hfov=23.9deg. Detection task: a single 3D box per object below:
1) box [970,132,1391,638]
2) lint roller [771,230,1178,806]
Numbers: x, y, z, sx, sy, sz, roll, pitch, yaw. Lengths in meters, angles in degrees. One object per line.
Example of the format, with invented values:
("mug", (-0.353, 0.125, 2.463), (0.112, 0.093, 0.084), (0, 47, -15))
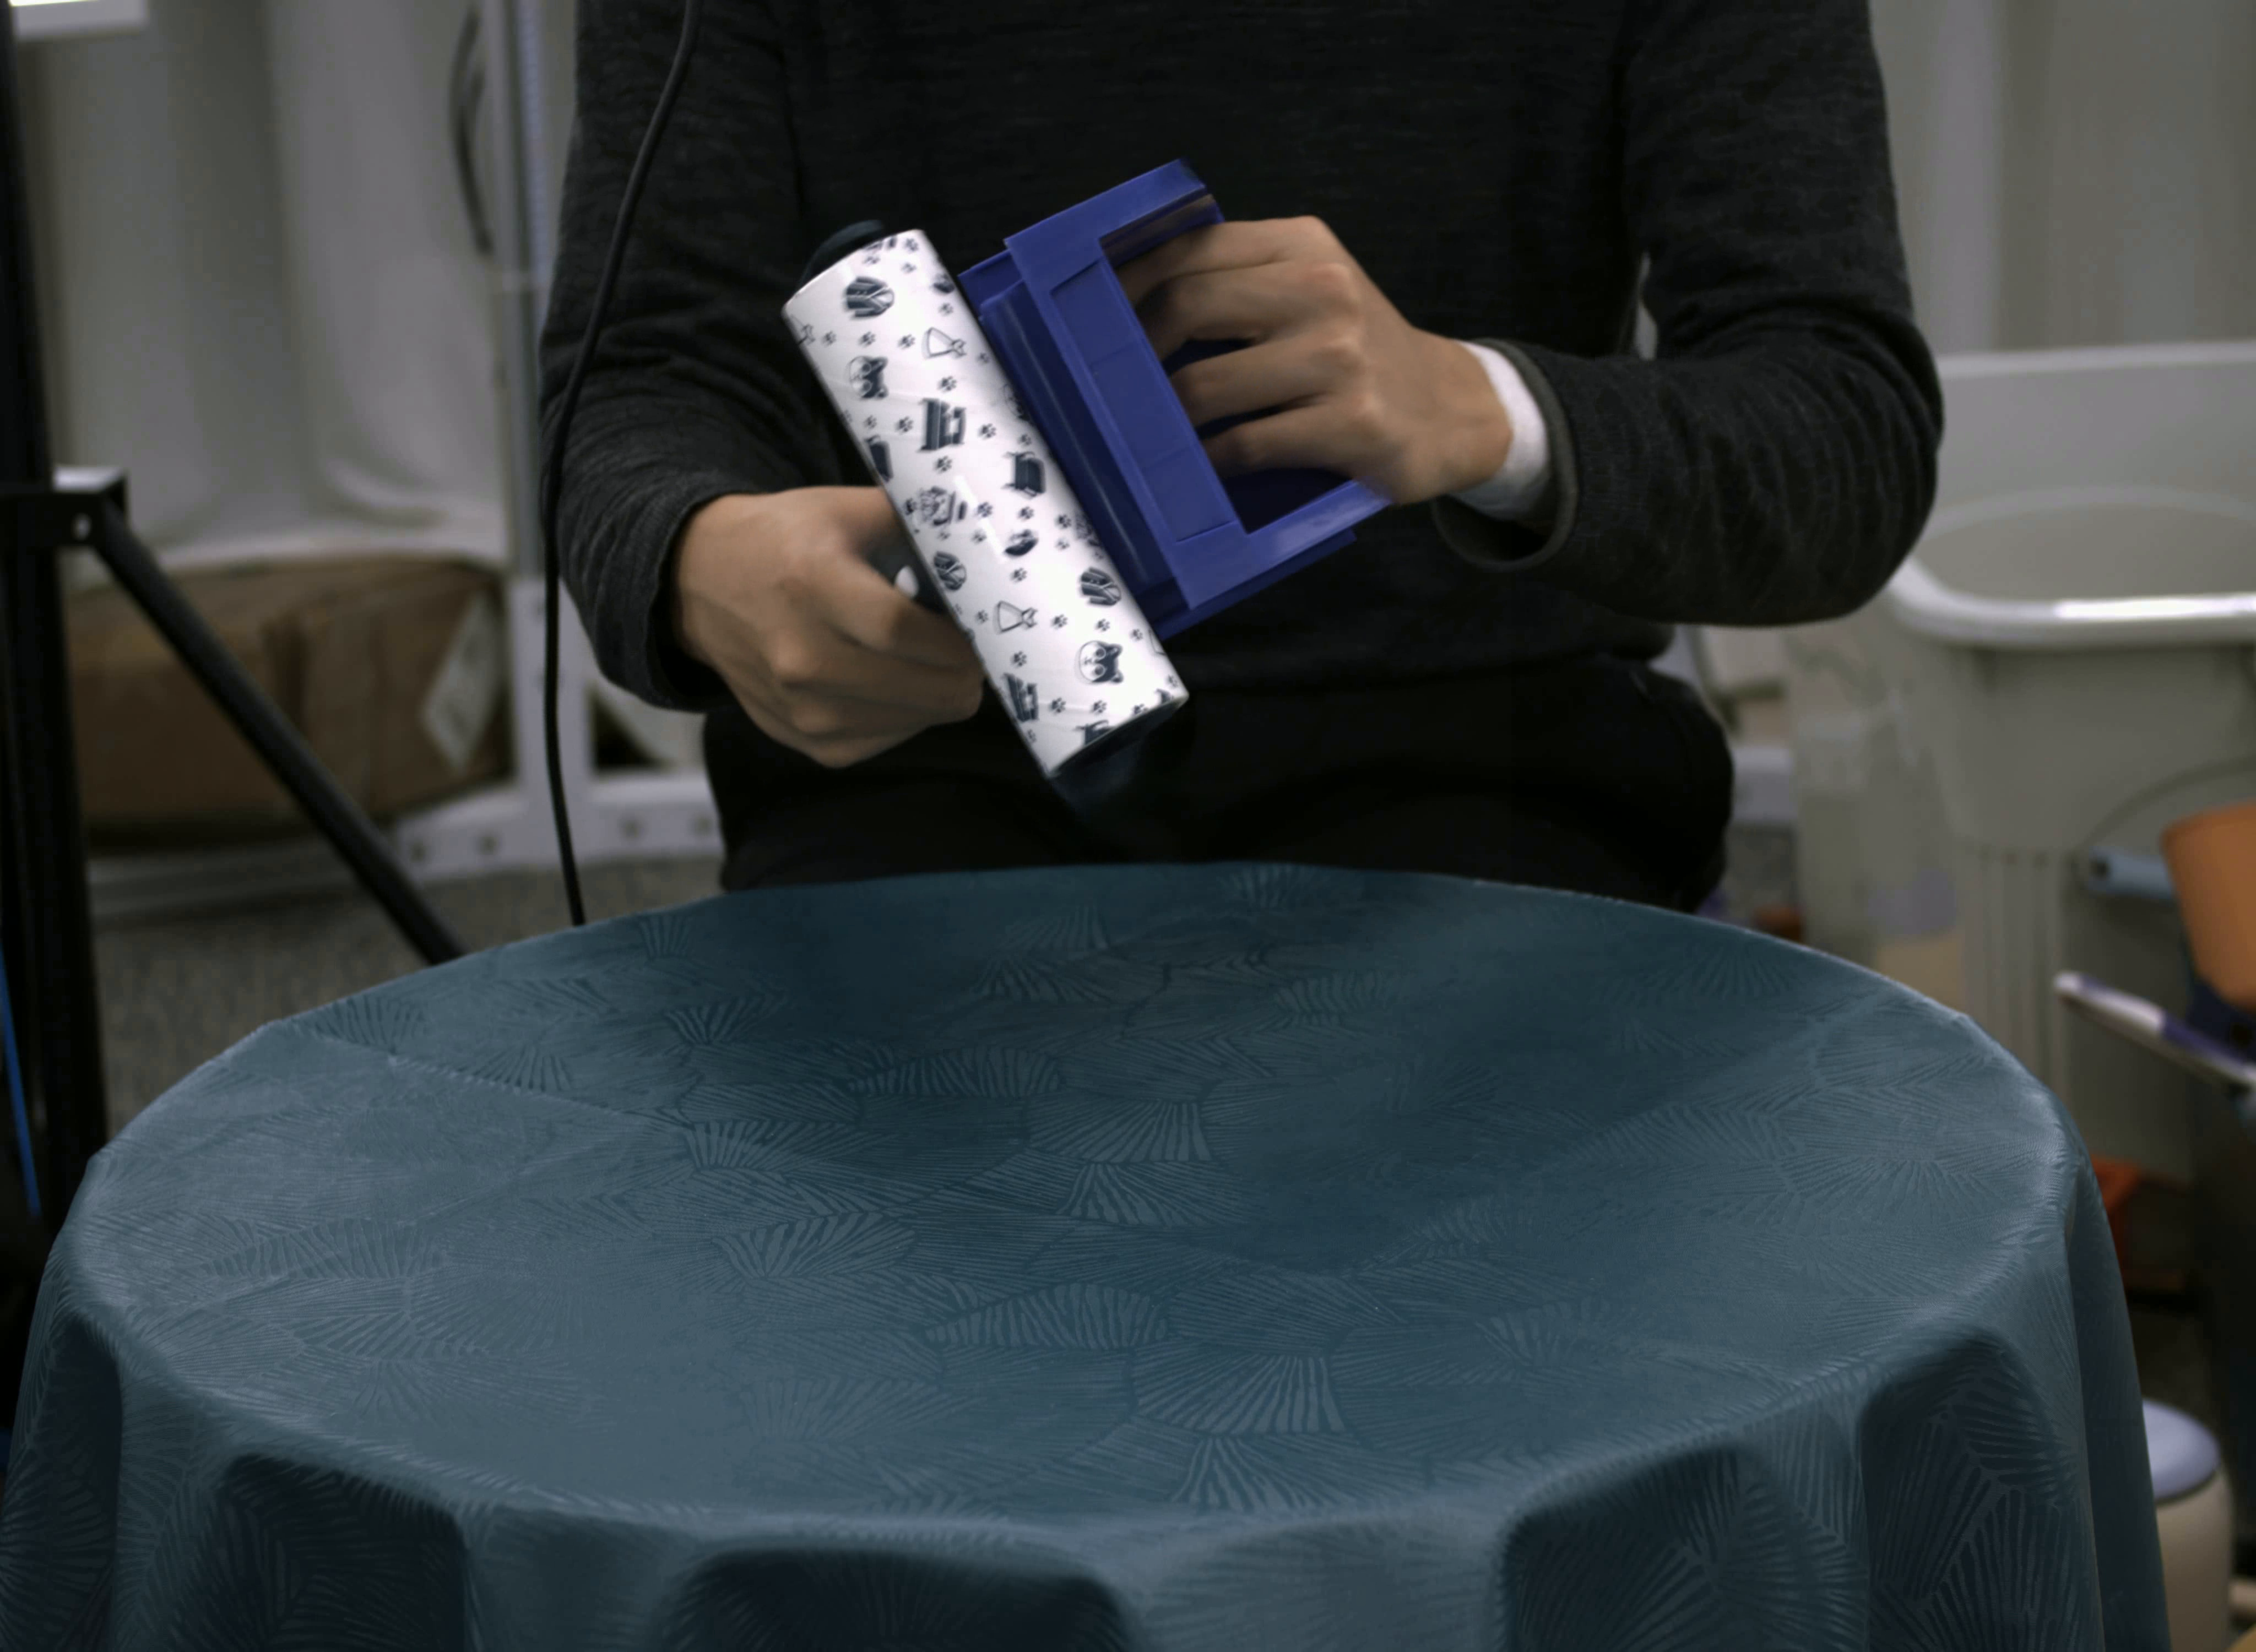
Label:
("box", (0.017, -0.129, 1.610), (0.081, 0.125, 0.179), (-27, 0, 1))
("lint roller", (-0.071, -0.063, 1.652), (0.049, 0.178, 0.248), (-27, -8, -22))
